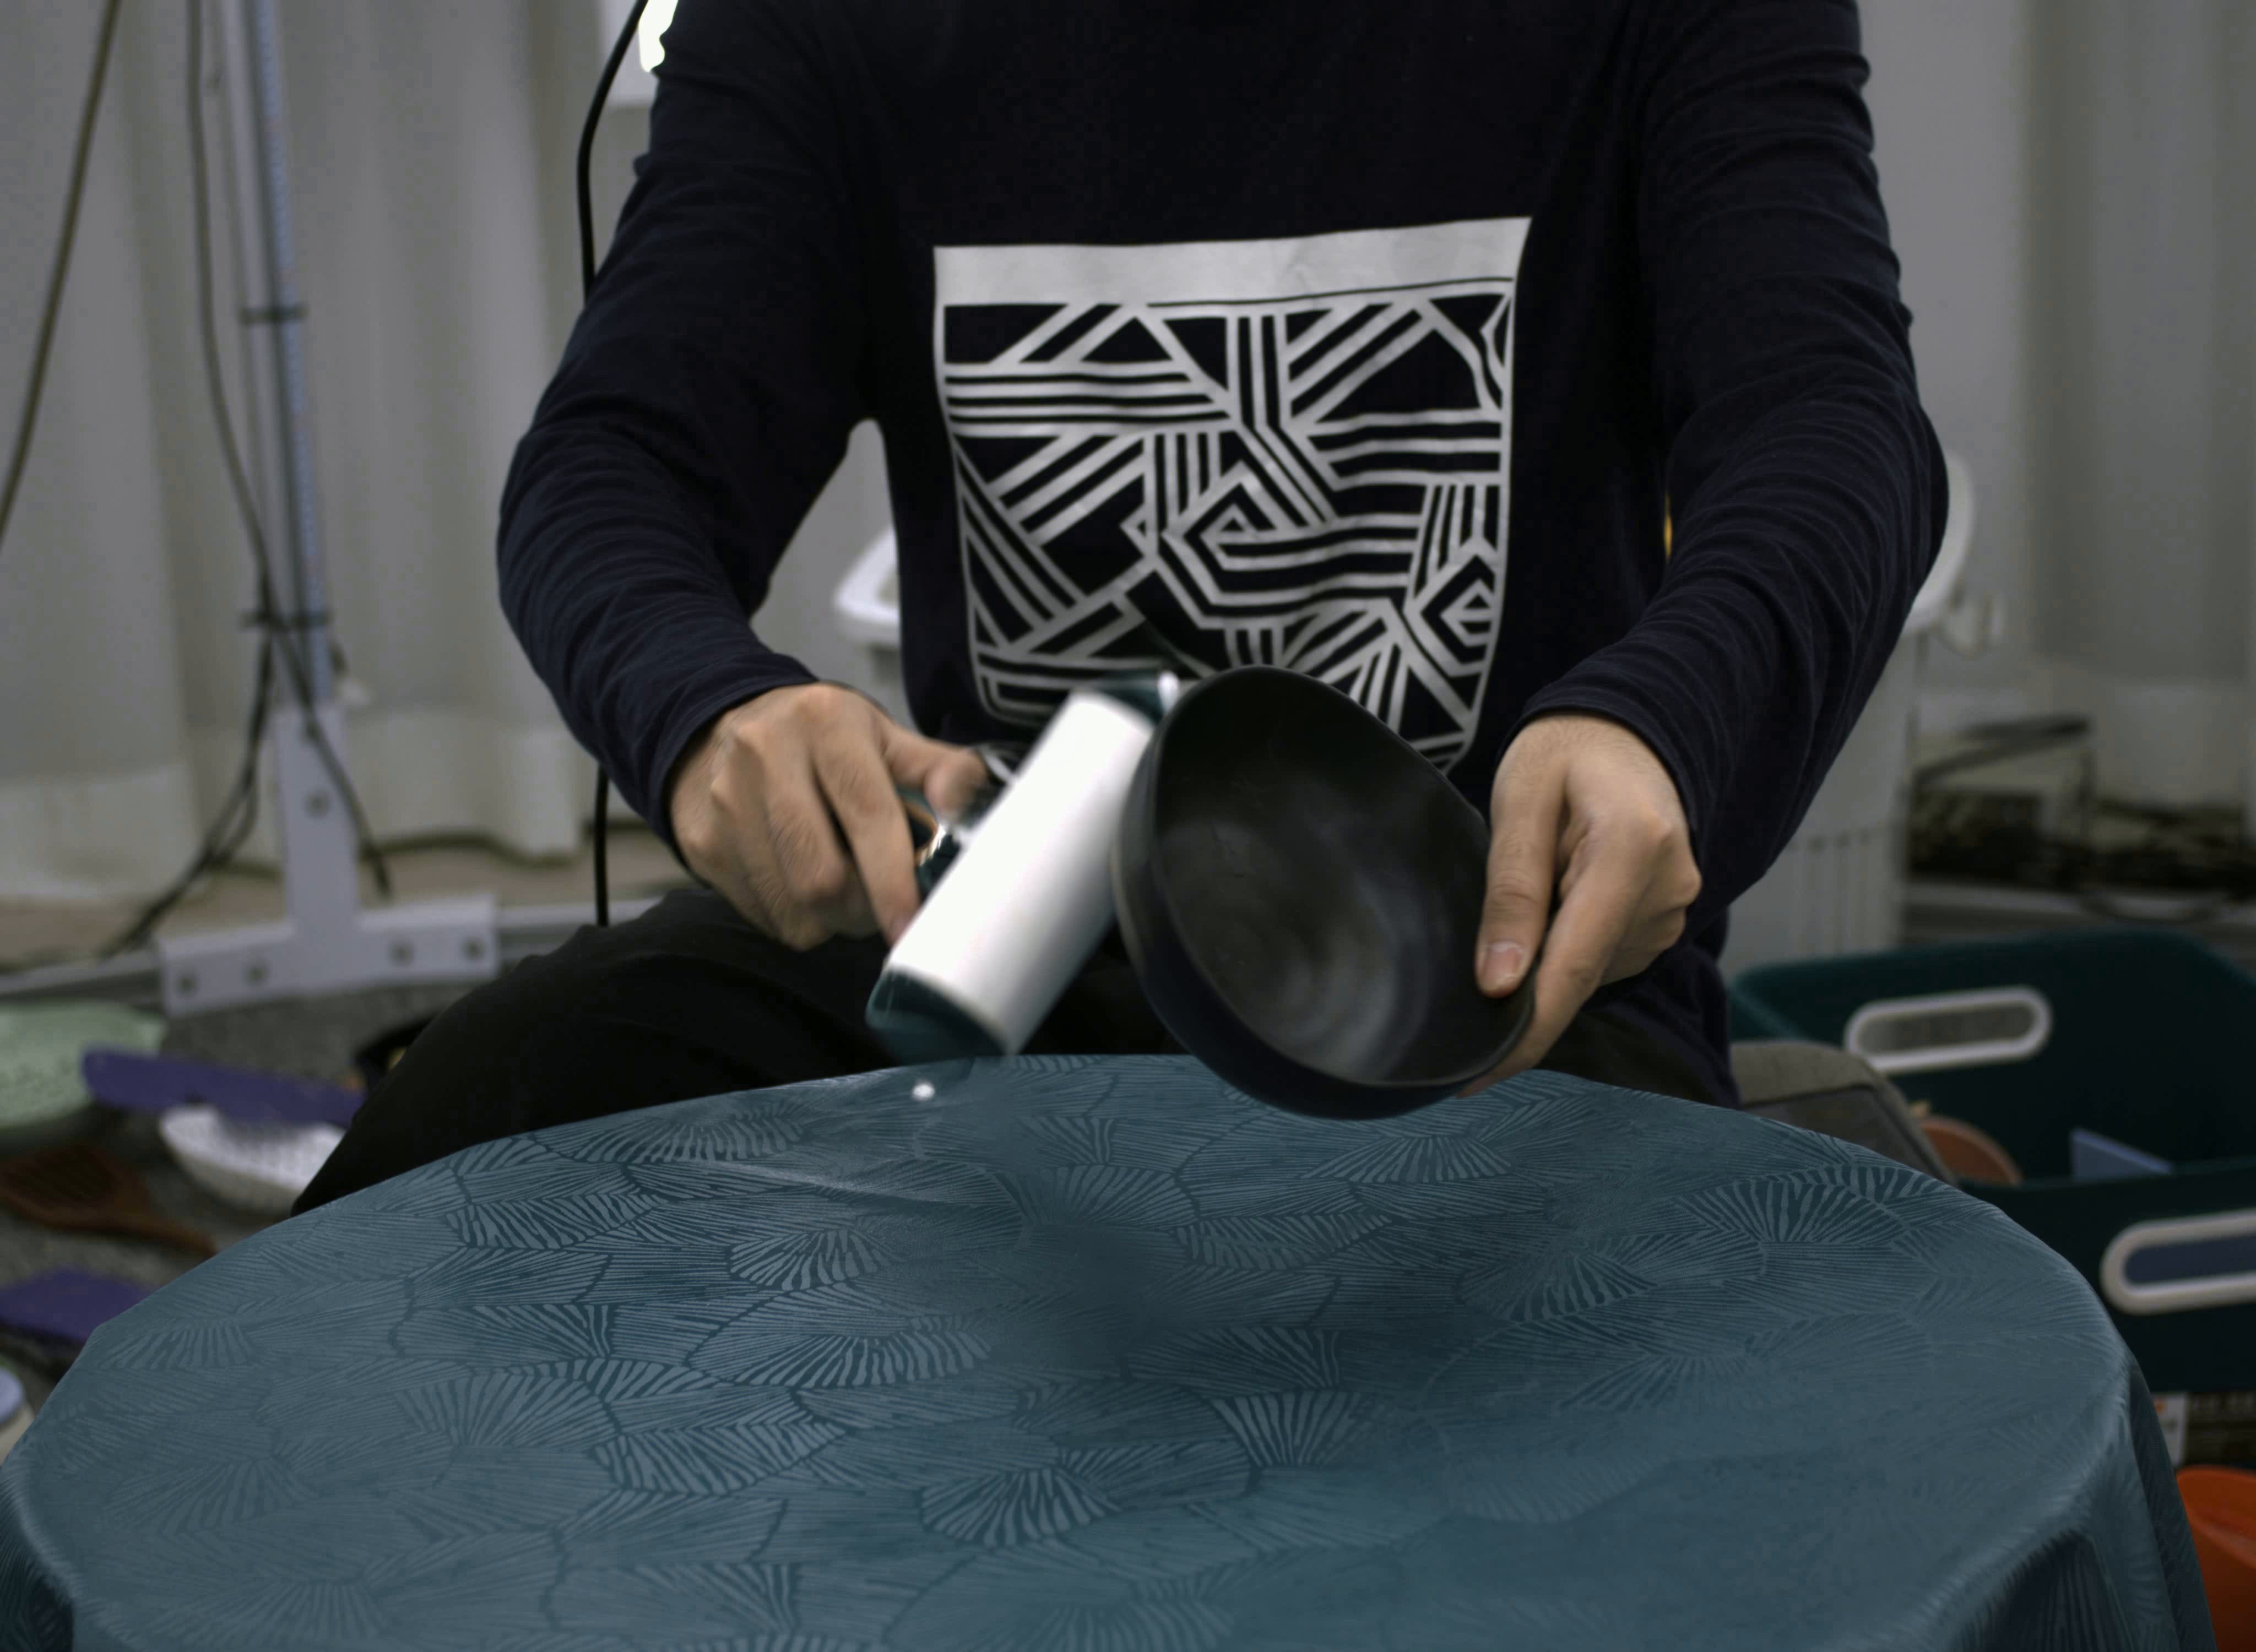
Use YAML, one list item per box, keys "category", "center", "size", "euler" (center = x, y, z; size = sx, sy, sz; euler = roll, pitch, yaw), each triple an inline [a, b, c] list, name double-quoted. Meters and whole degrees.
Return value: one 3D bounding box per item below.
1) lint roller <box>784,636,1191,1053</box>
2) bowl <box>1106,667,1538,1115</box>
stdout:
- category: "lint roller"
  center: [-0.064, -0.001, 1.645]
  size: [0.181, 0.048, 0.135]
  euler: [9, 61, 53]
- category: "bowl"
  center: [0.045, 0.026, 1.567]
  size: [0.066, 0.137, 0.171]
  euler: [-44, 4, 34]
